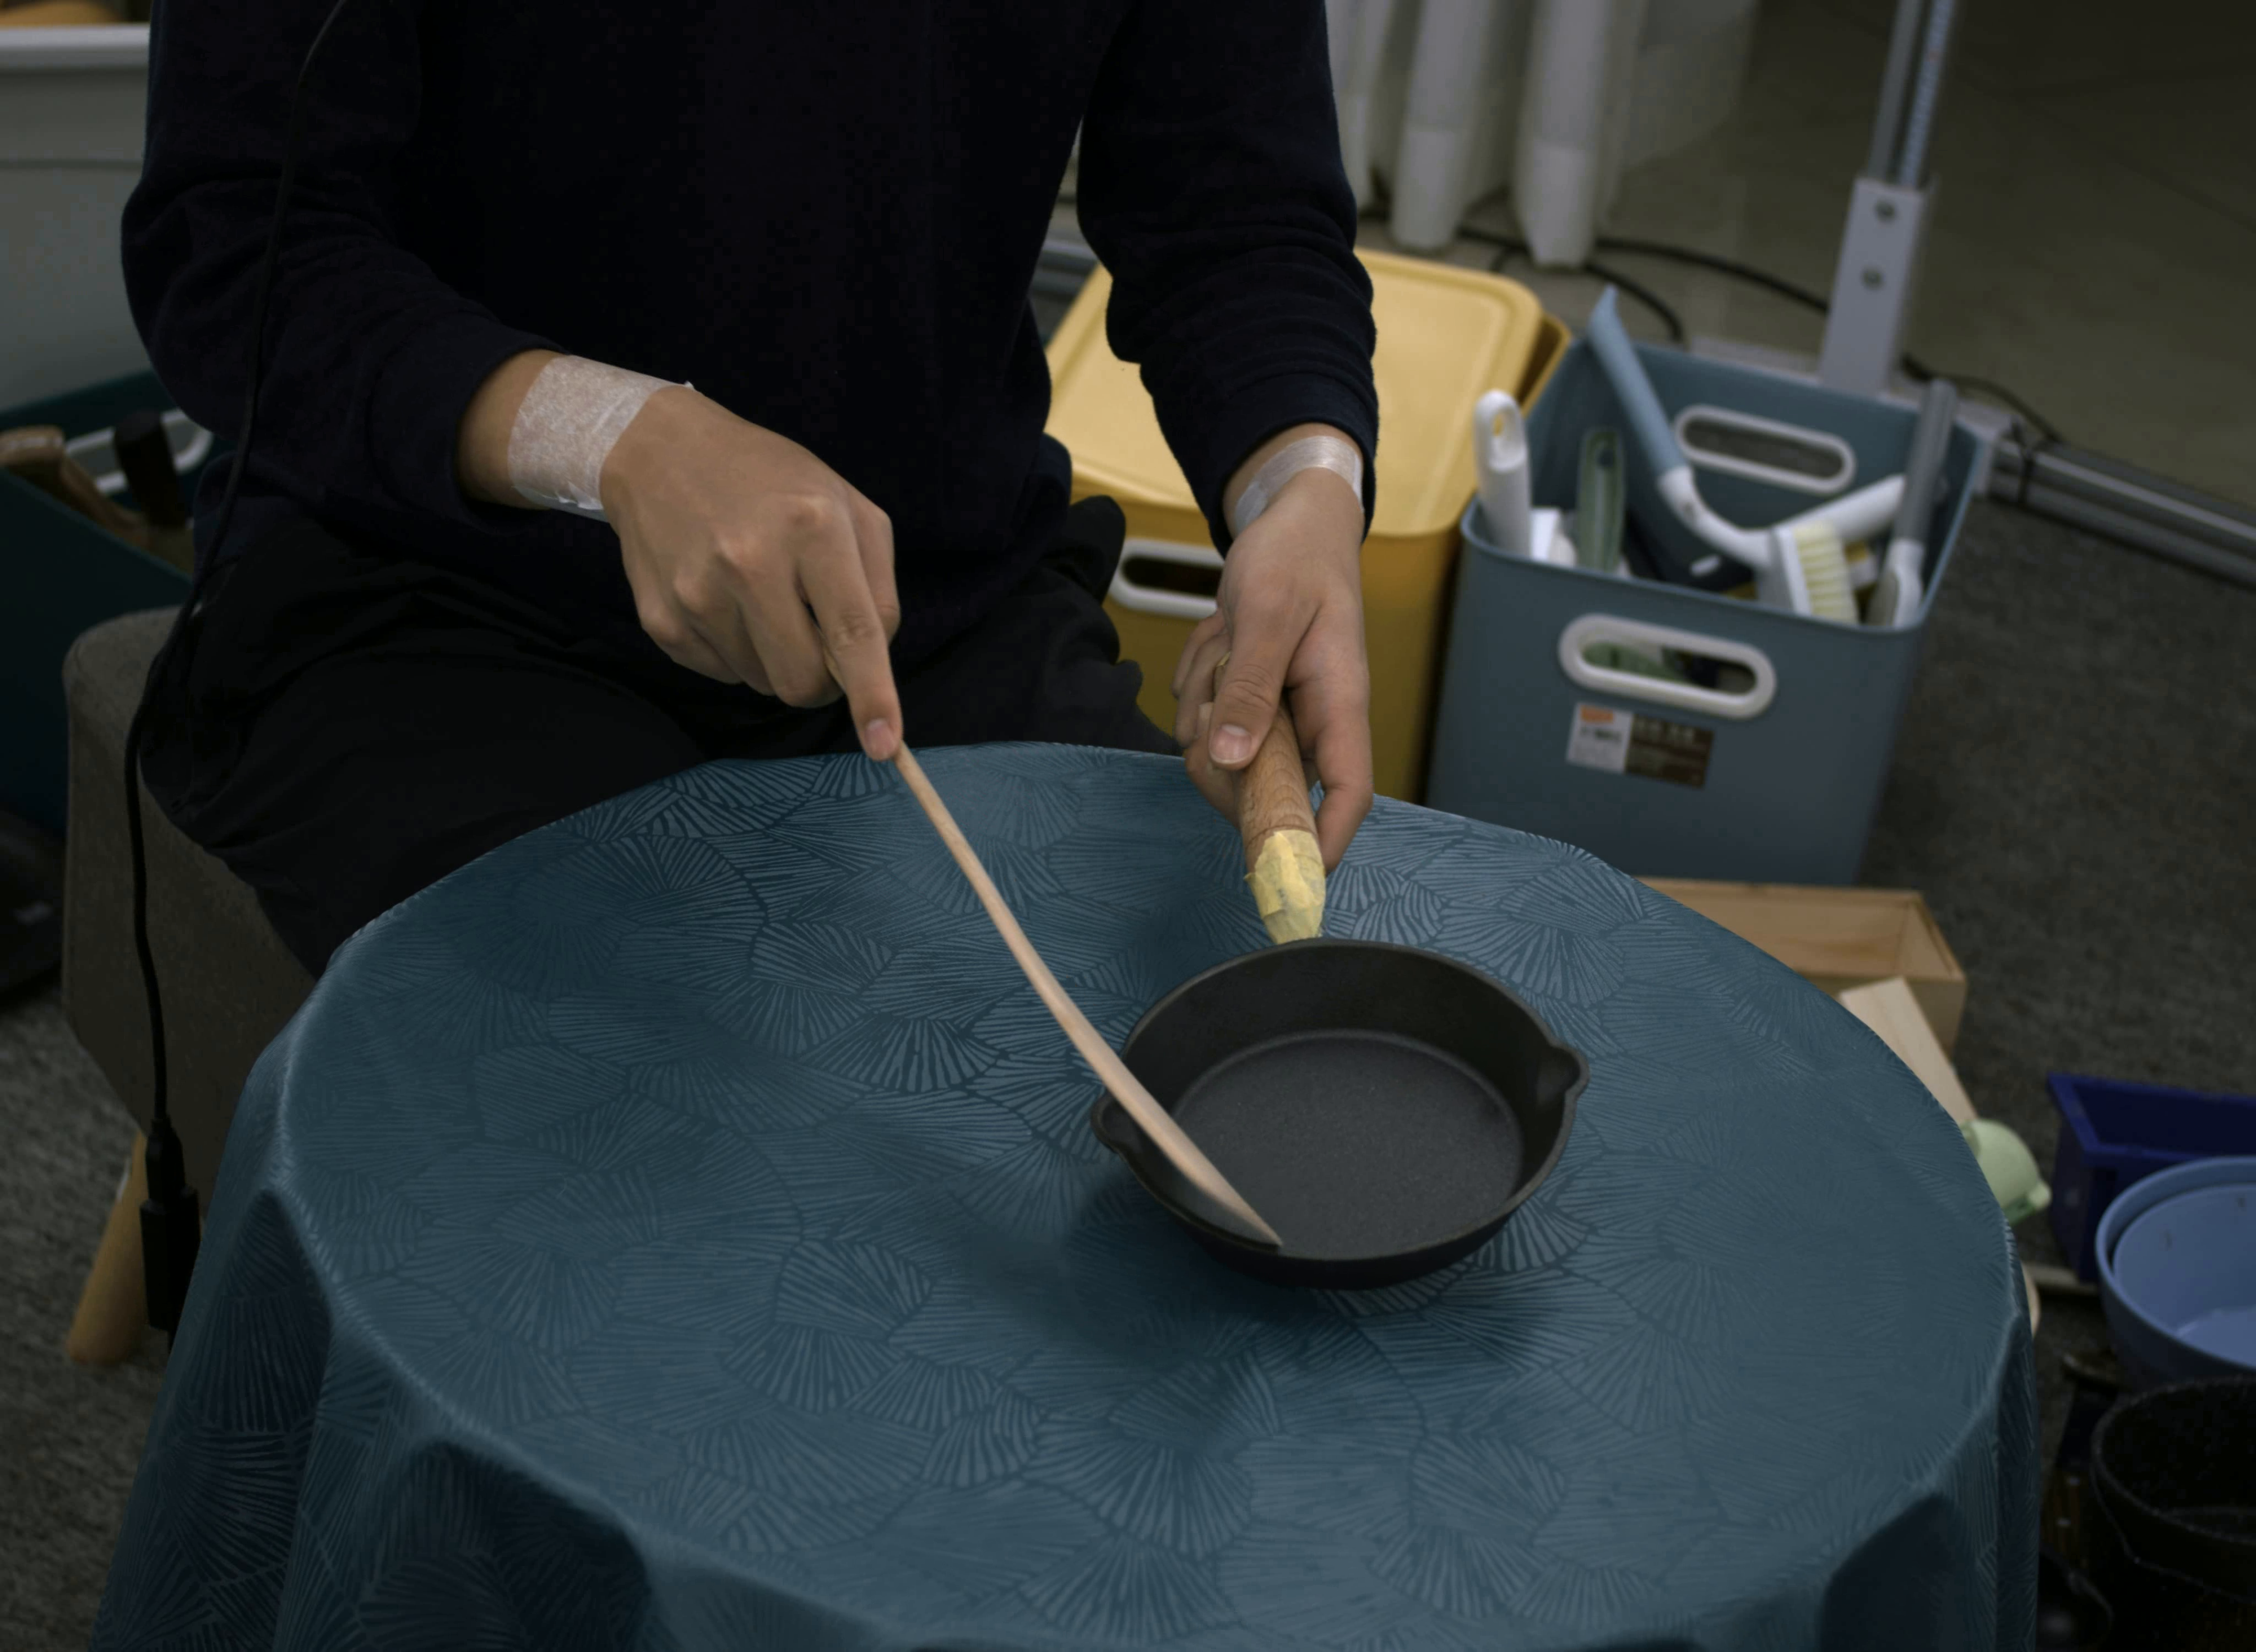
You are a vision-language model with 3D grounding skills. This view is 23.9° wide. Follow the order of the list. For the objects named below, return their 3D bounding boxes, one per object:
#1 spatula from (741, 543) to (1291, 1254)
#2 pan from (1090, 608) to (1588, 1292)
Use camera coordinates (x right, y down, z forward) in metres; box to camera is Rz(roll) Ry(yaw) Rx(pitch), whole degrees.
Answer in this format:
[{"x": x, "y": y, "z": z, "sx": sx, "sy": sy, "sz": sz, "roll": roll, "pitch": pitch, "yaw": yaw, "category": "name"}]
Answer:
[{"x": -0.041, "y": 0.022, "z": 1.781, "sx": 0.330, "sy": 0.016, "sz": 0.079, "roll": 54, "pitch": 4, "yaw": 26, "category": "spatula"}, {"x": 0.062, "y": 0.041, "z": 1.854, "sx": 0.168, "sy": 0.049, "sz": 0.327, "roll": -5, "pitch": 41, "yaw": -3, "category": "pan"}]
